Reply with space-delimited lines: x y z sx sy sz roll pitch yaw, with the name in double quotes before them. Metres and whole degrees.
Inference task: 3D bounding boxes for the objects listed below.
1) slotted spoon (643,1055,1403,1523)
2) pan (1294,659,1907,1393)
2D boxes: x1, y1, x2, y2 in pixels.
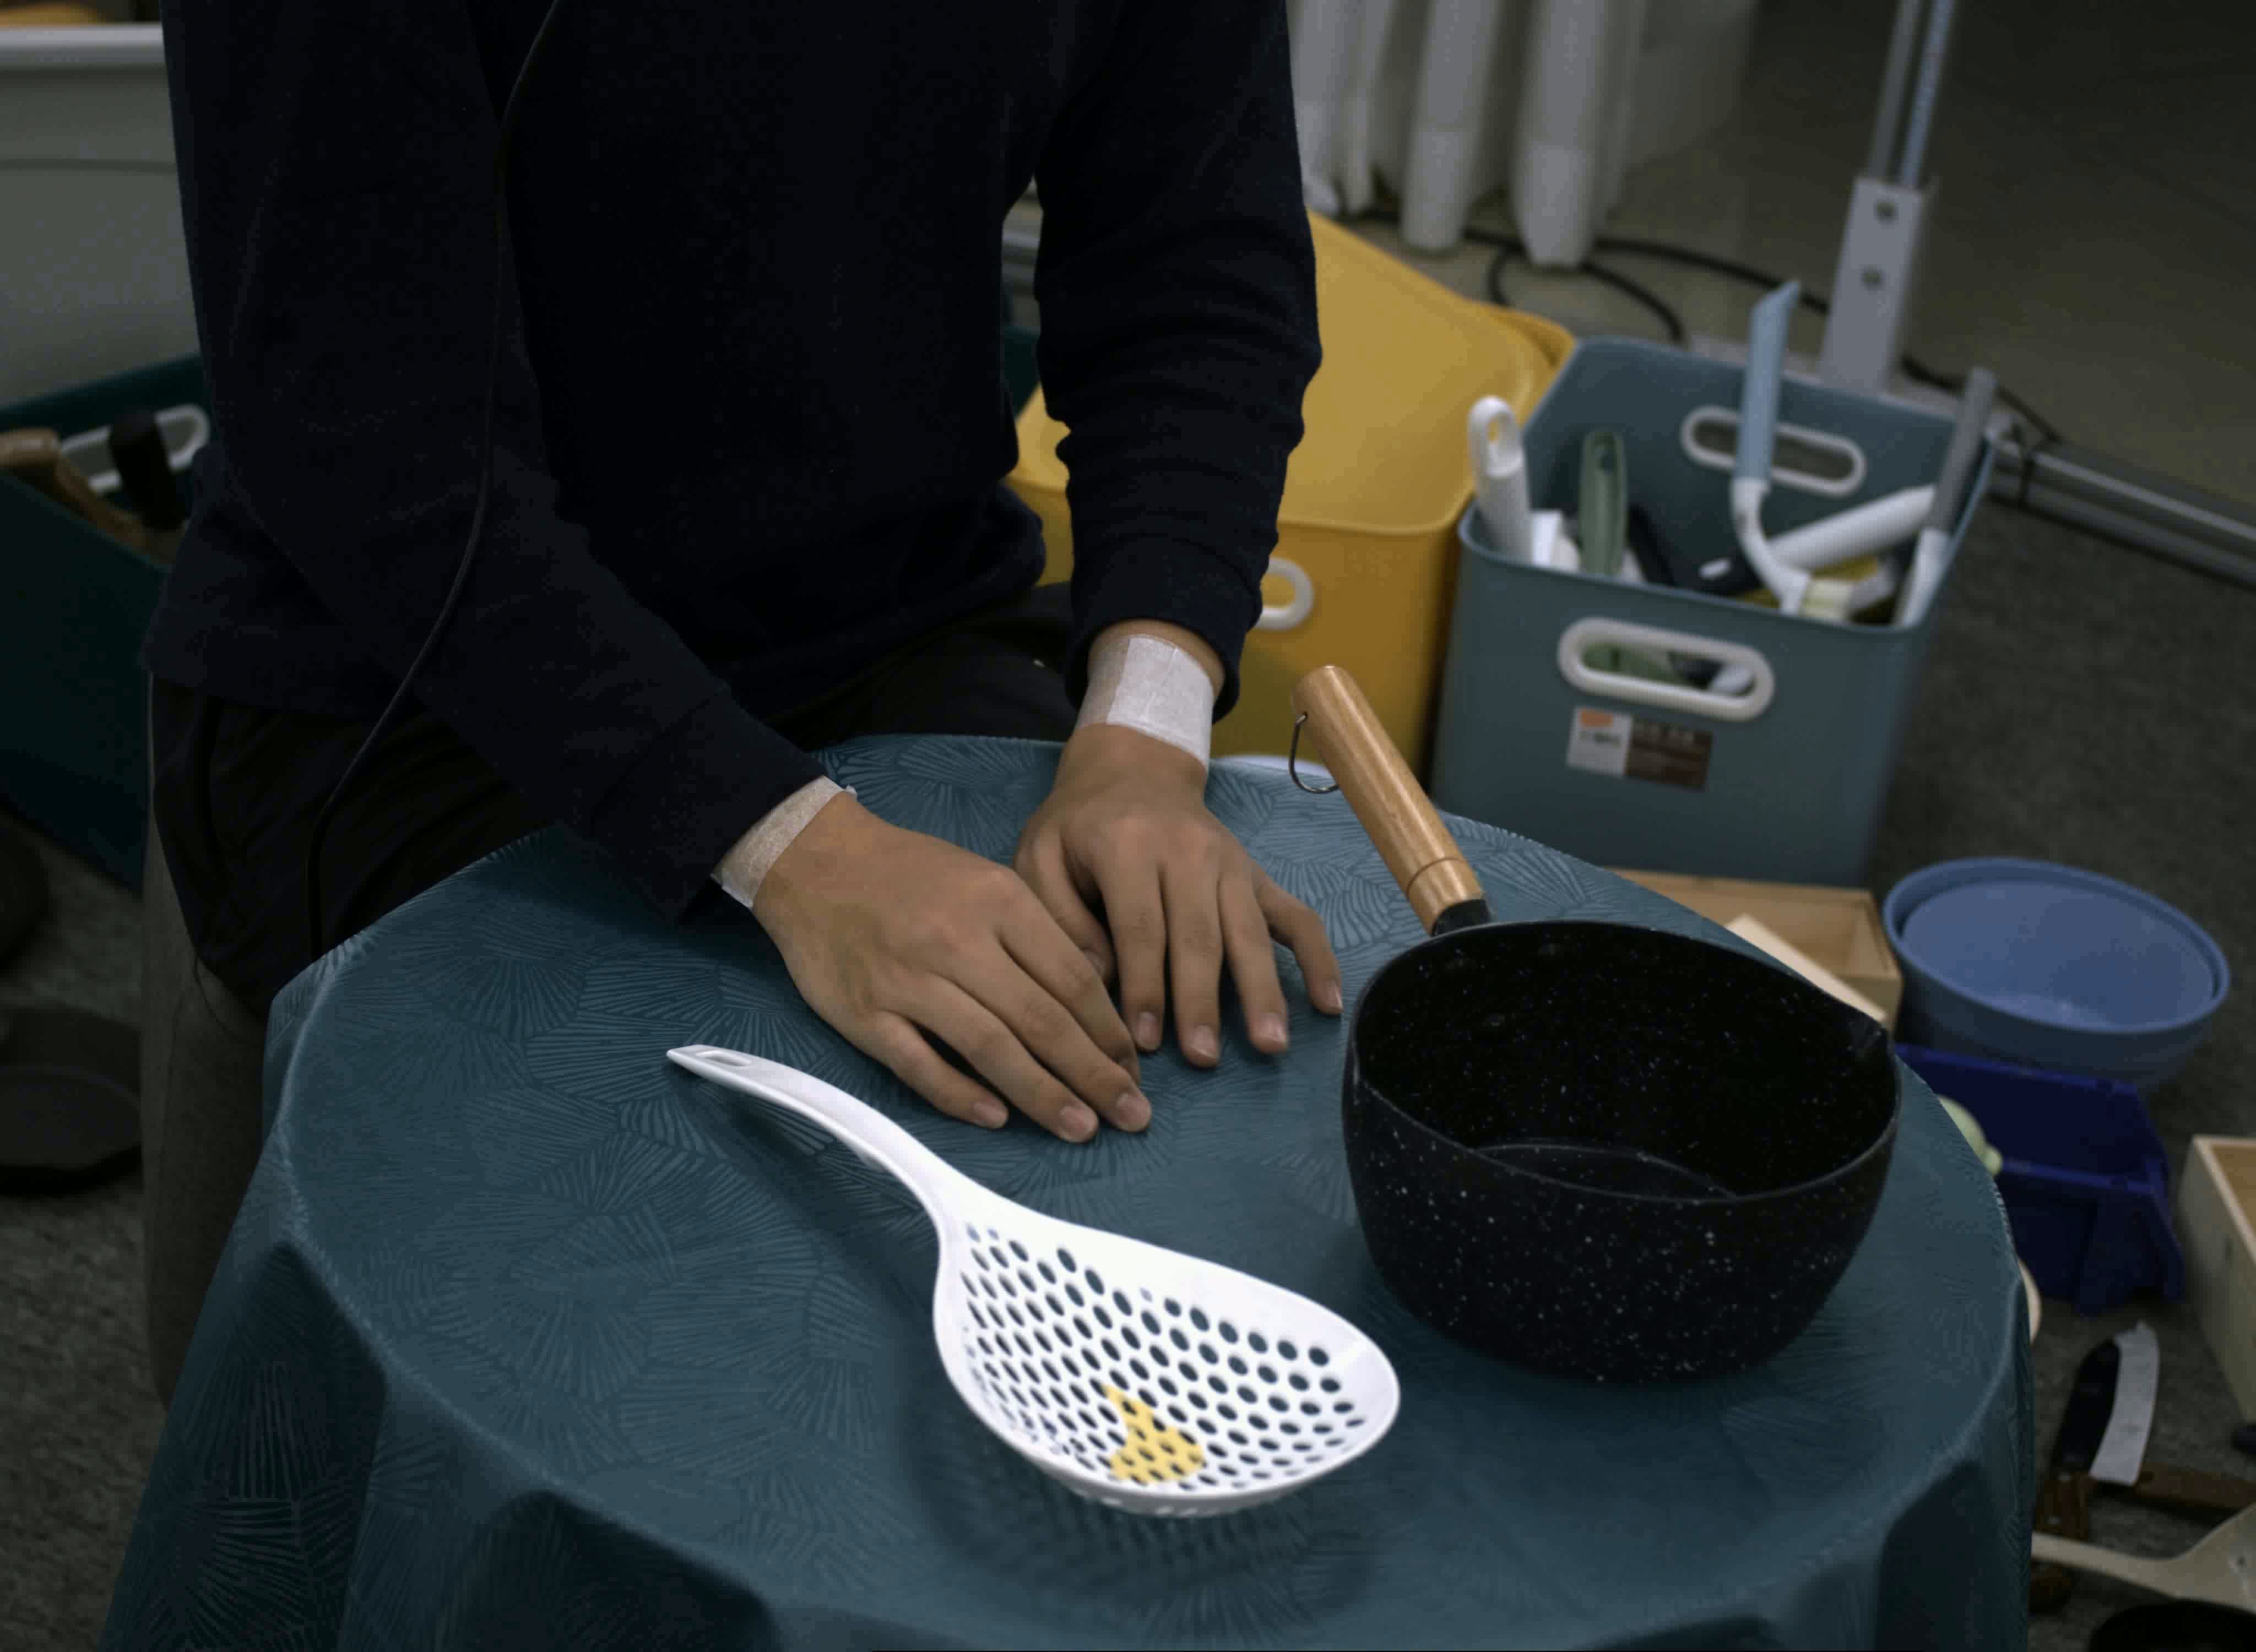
"slotted spoon" -0.052 0.137 1.719 0.136 0.050 0.351 -15 36 -34
"pan" 0.129 0.065 1.827 0.206 0.108 0.346 -7 31 -23
